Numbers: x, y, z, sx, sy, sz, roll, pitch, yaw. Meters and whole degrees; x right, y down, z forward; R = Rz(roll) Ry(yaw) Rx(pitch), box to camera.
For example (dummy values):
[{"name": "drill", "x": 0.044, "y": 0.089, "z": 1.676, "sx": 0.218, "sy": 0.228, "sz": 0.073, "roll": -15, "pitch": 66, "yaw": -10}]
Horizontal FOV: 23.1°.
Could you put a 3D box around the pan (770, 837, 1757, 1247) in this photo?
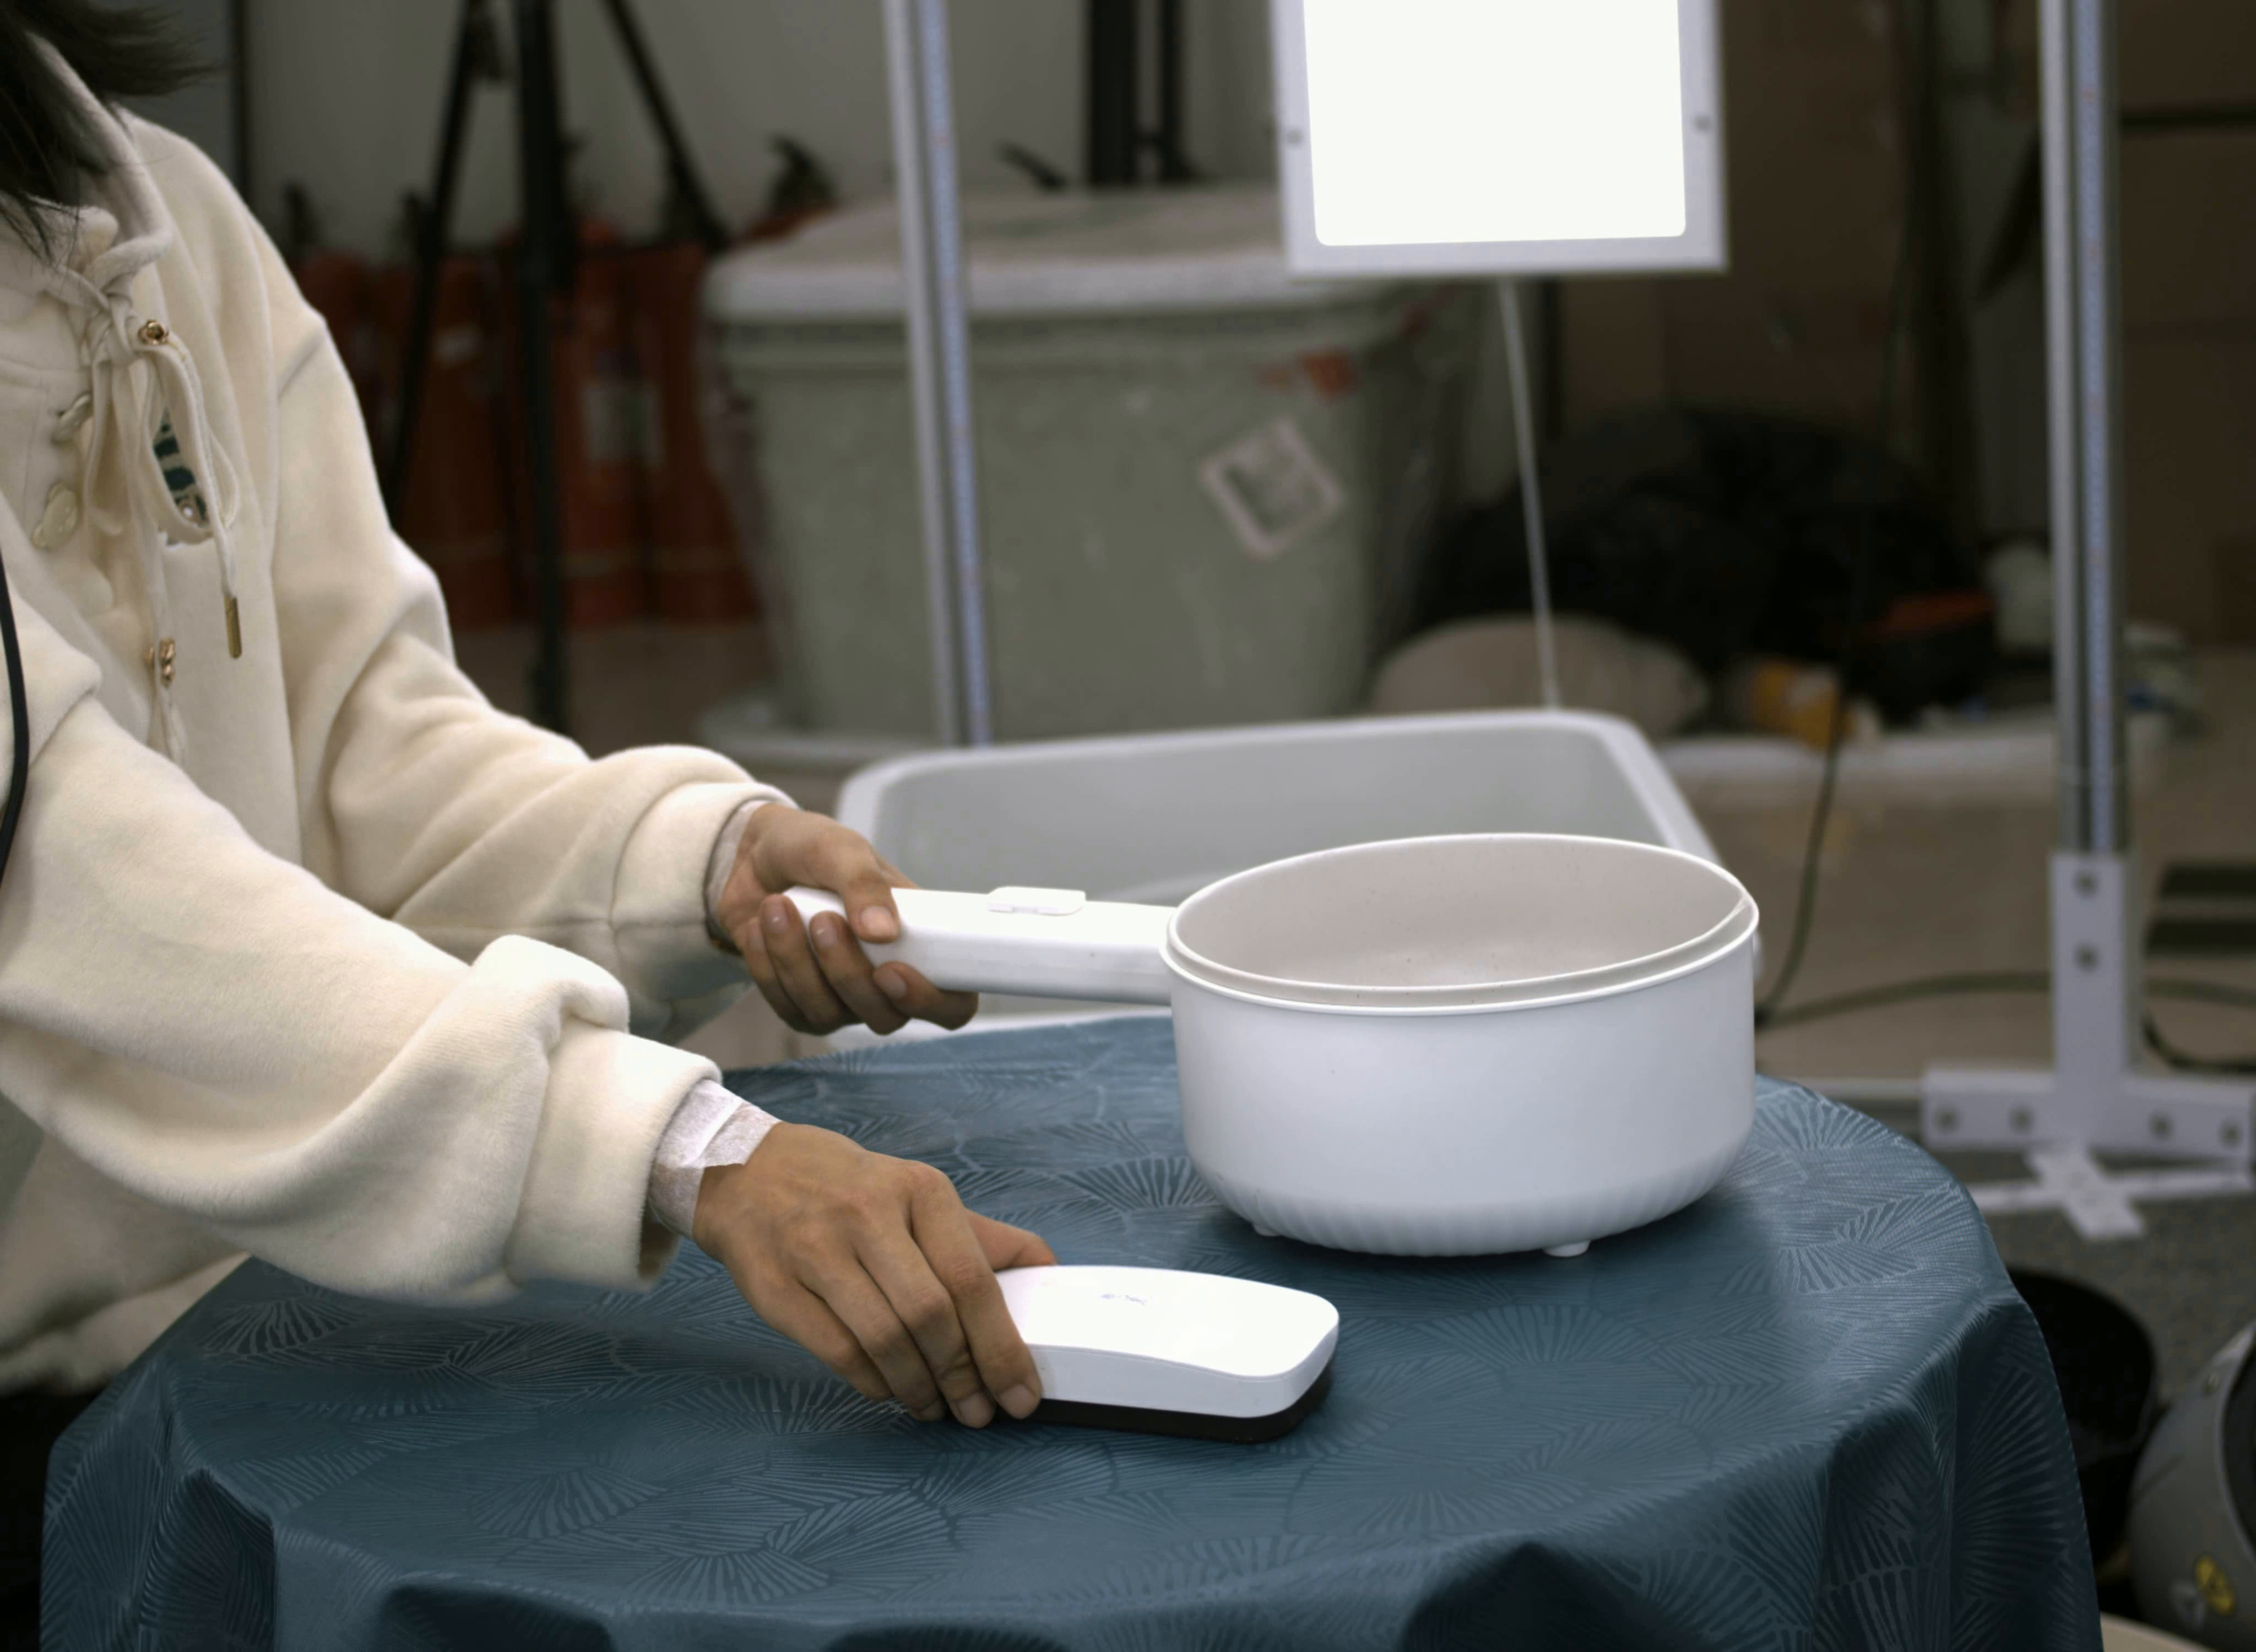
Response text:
[{"name": "pan", "x": 0.044, "y": 0.075, "z": 1.883, "sx": 0.361, "sy": 0.102, "sz": 0.197, "roll": 0, "pitch": 13, "yaw": 26}]

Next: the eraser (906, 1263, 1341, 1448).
[{"name": "eraser", "x": -0.001, "y": 0.162, "z": 1.688, "sx": 0.133, "sy": 0.034, "sz": 0.062, "roll": 3, "pitch": 16, "yaw": 28}]
